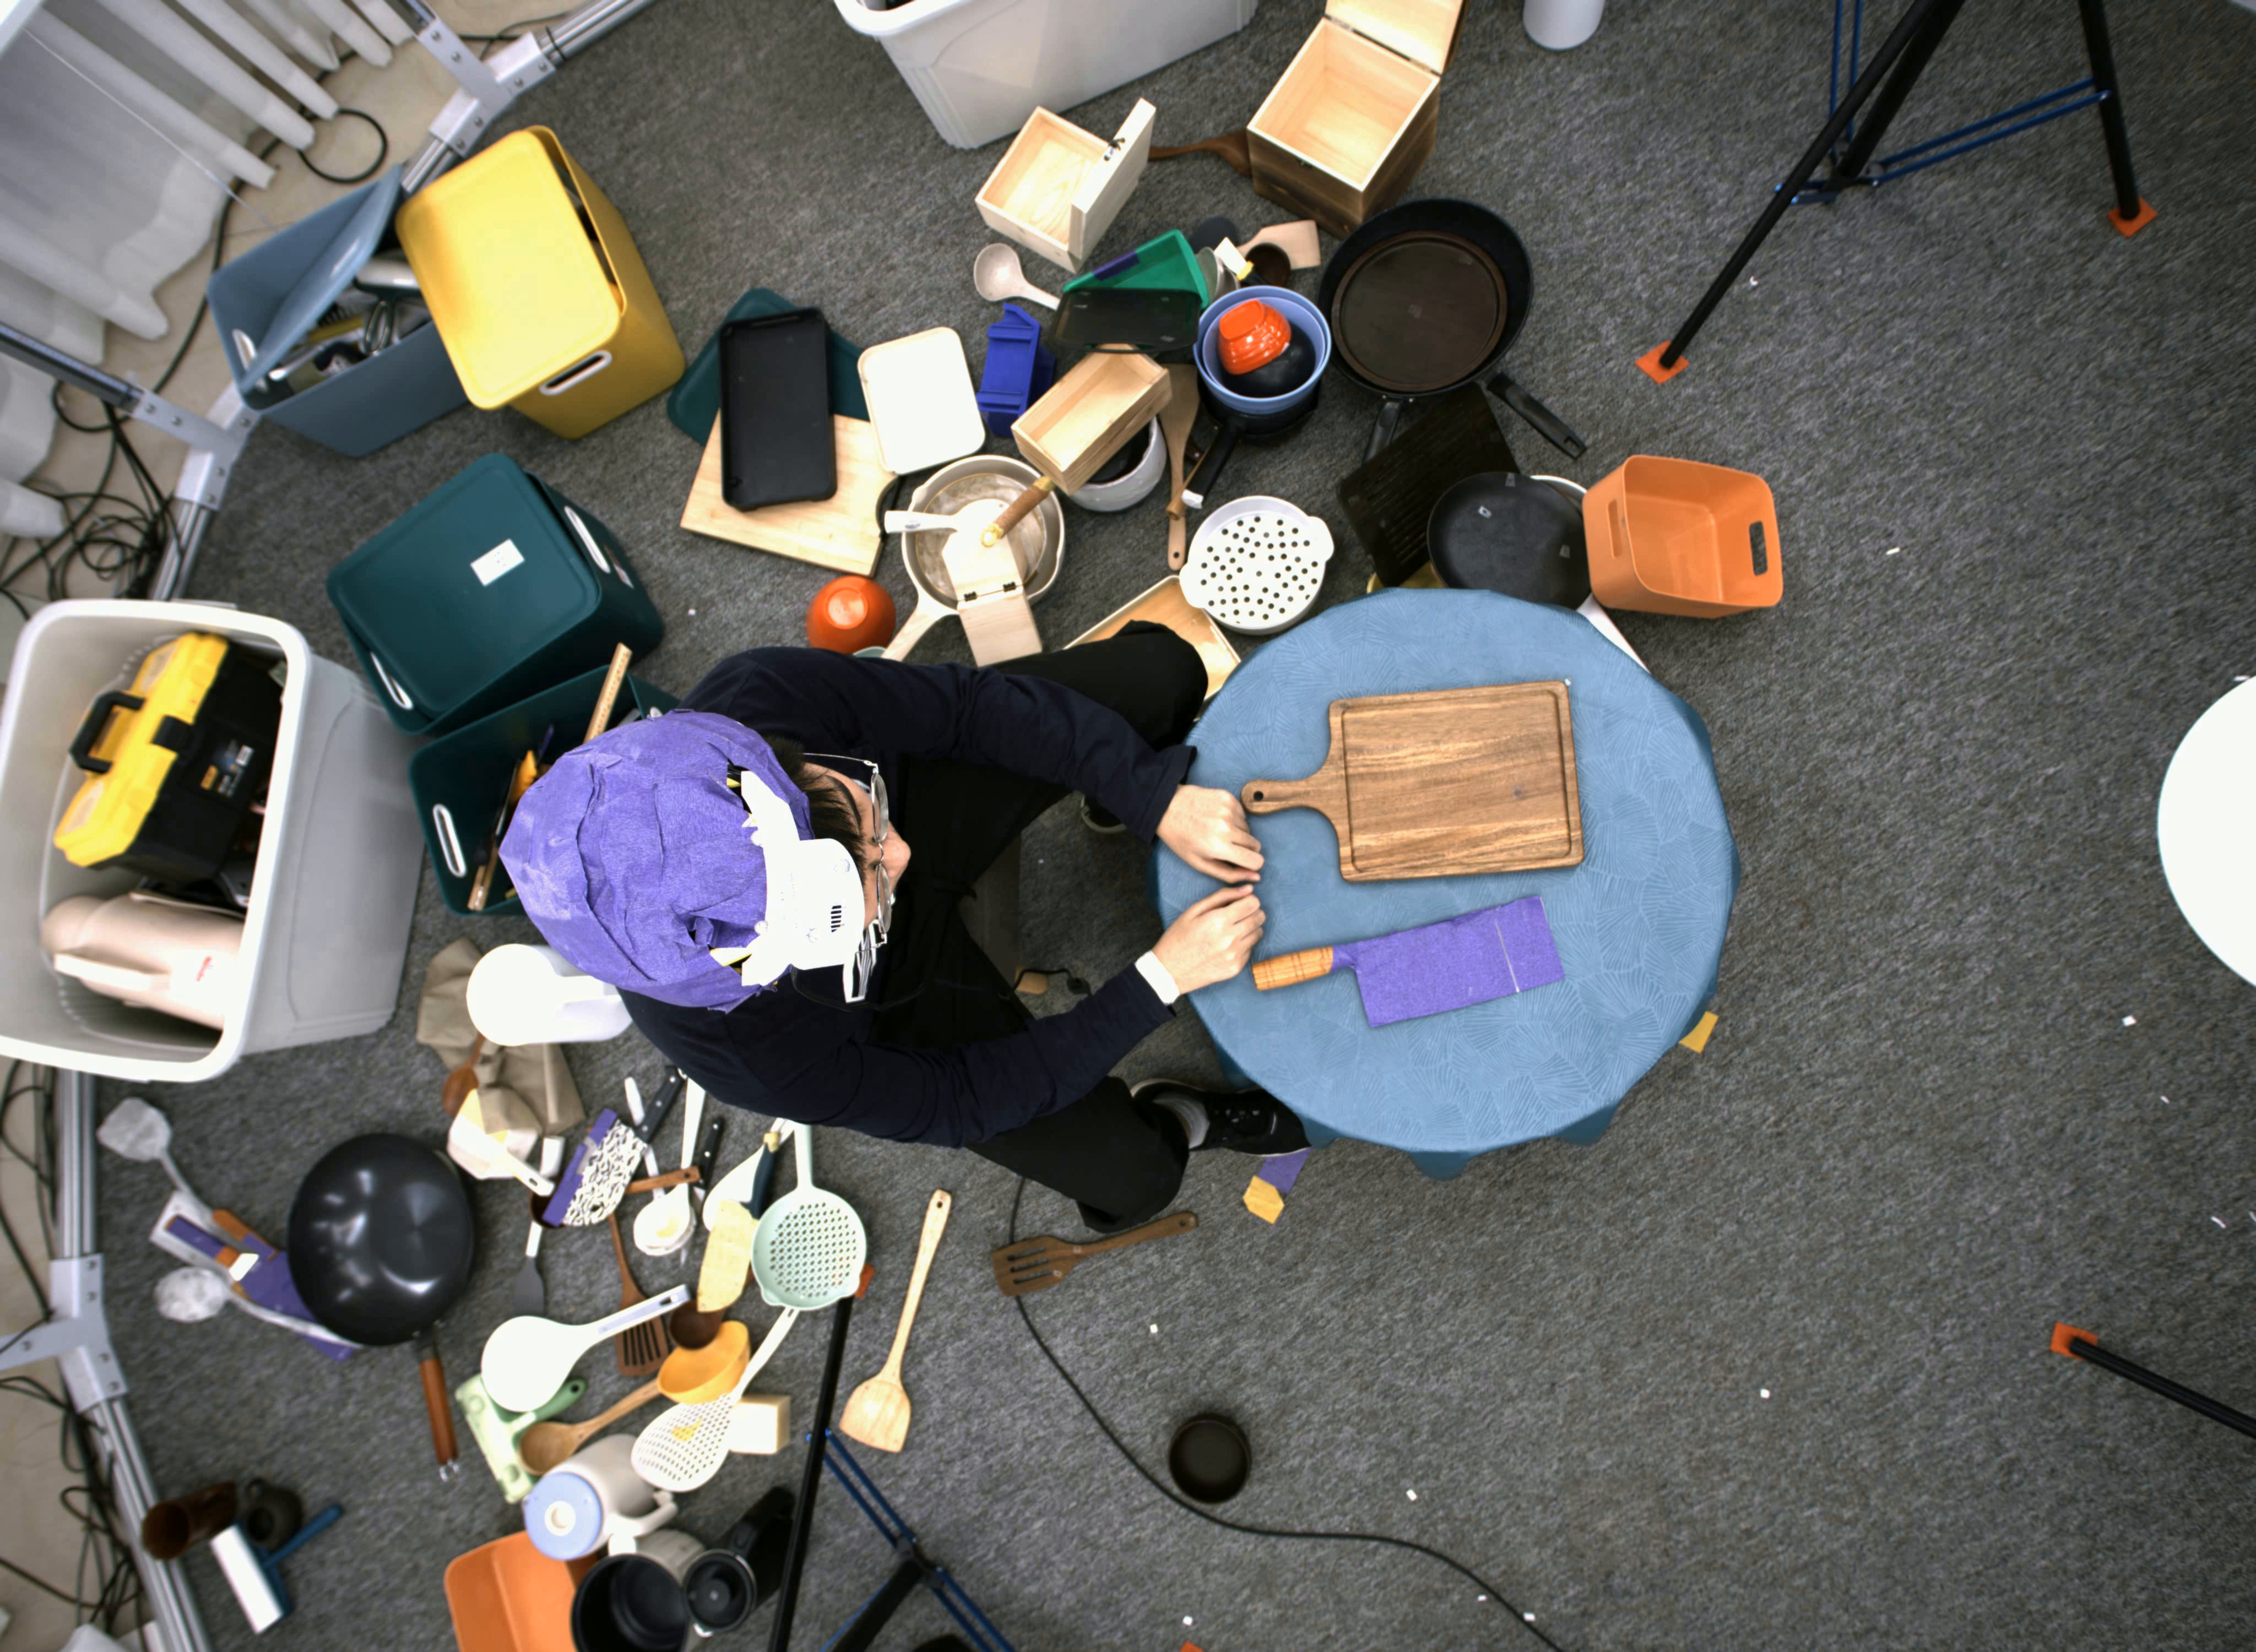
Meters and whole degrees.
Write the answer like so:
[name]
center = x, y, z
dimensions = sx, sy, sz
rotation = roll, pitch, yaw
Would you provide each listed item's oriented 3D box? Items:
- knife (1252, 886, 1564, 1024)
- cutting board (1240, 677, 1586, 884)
[knife]
center = 0.291, 0.150, 1.438
dimensions = 0.317, 0.032, 0.103
rotation = -16, 84, 9
[cutting board]
center = 0.293, -0.045, 1.452
dimensions = 0.354, 0.023, 0.200
rotation = -5, 86, 11
